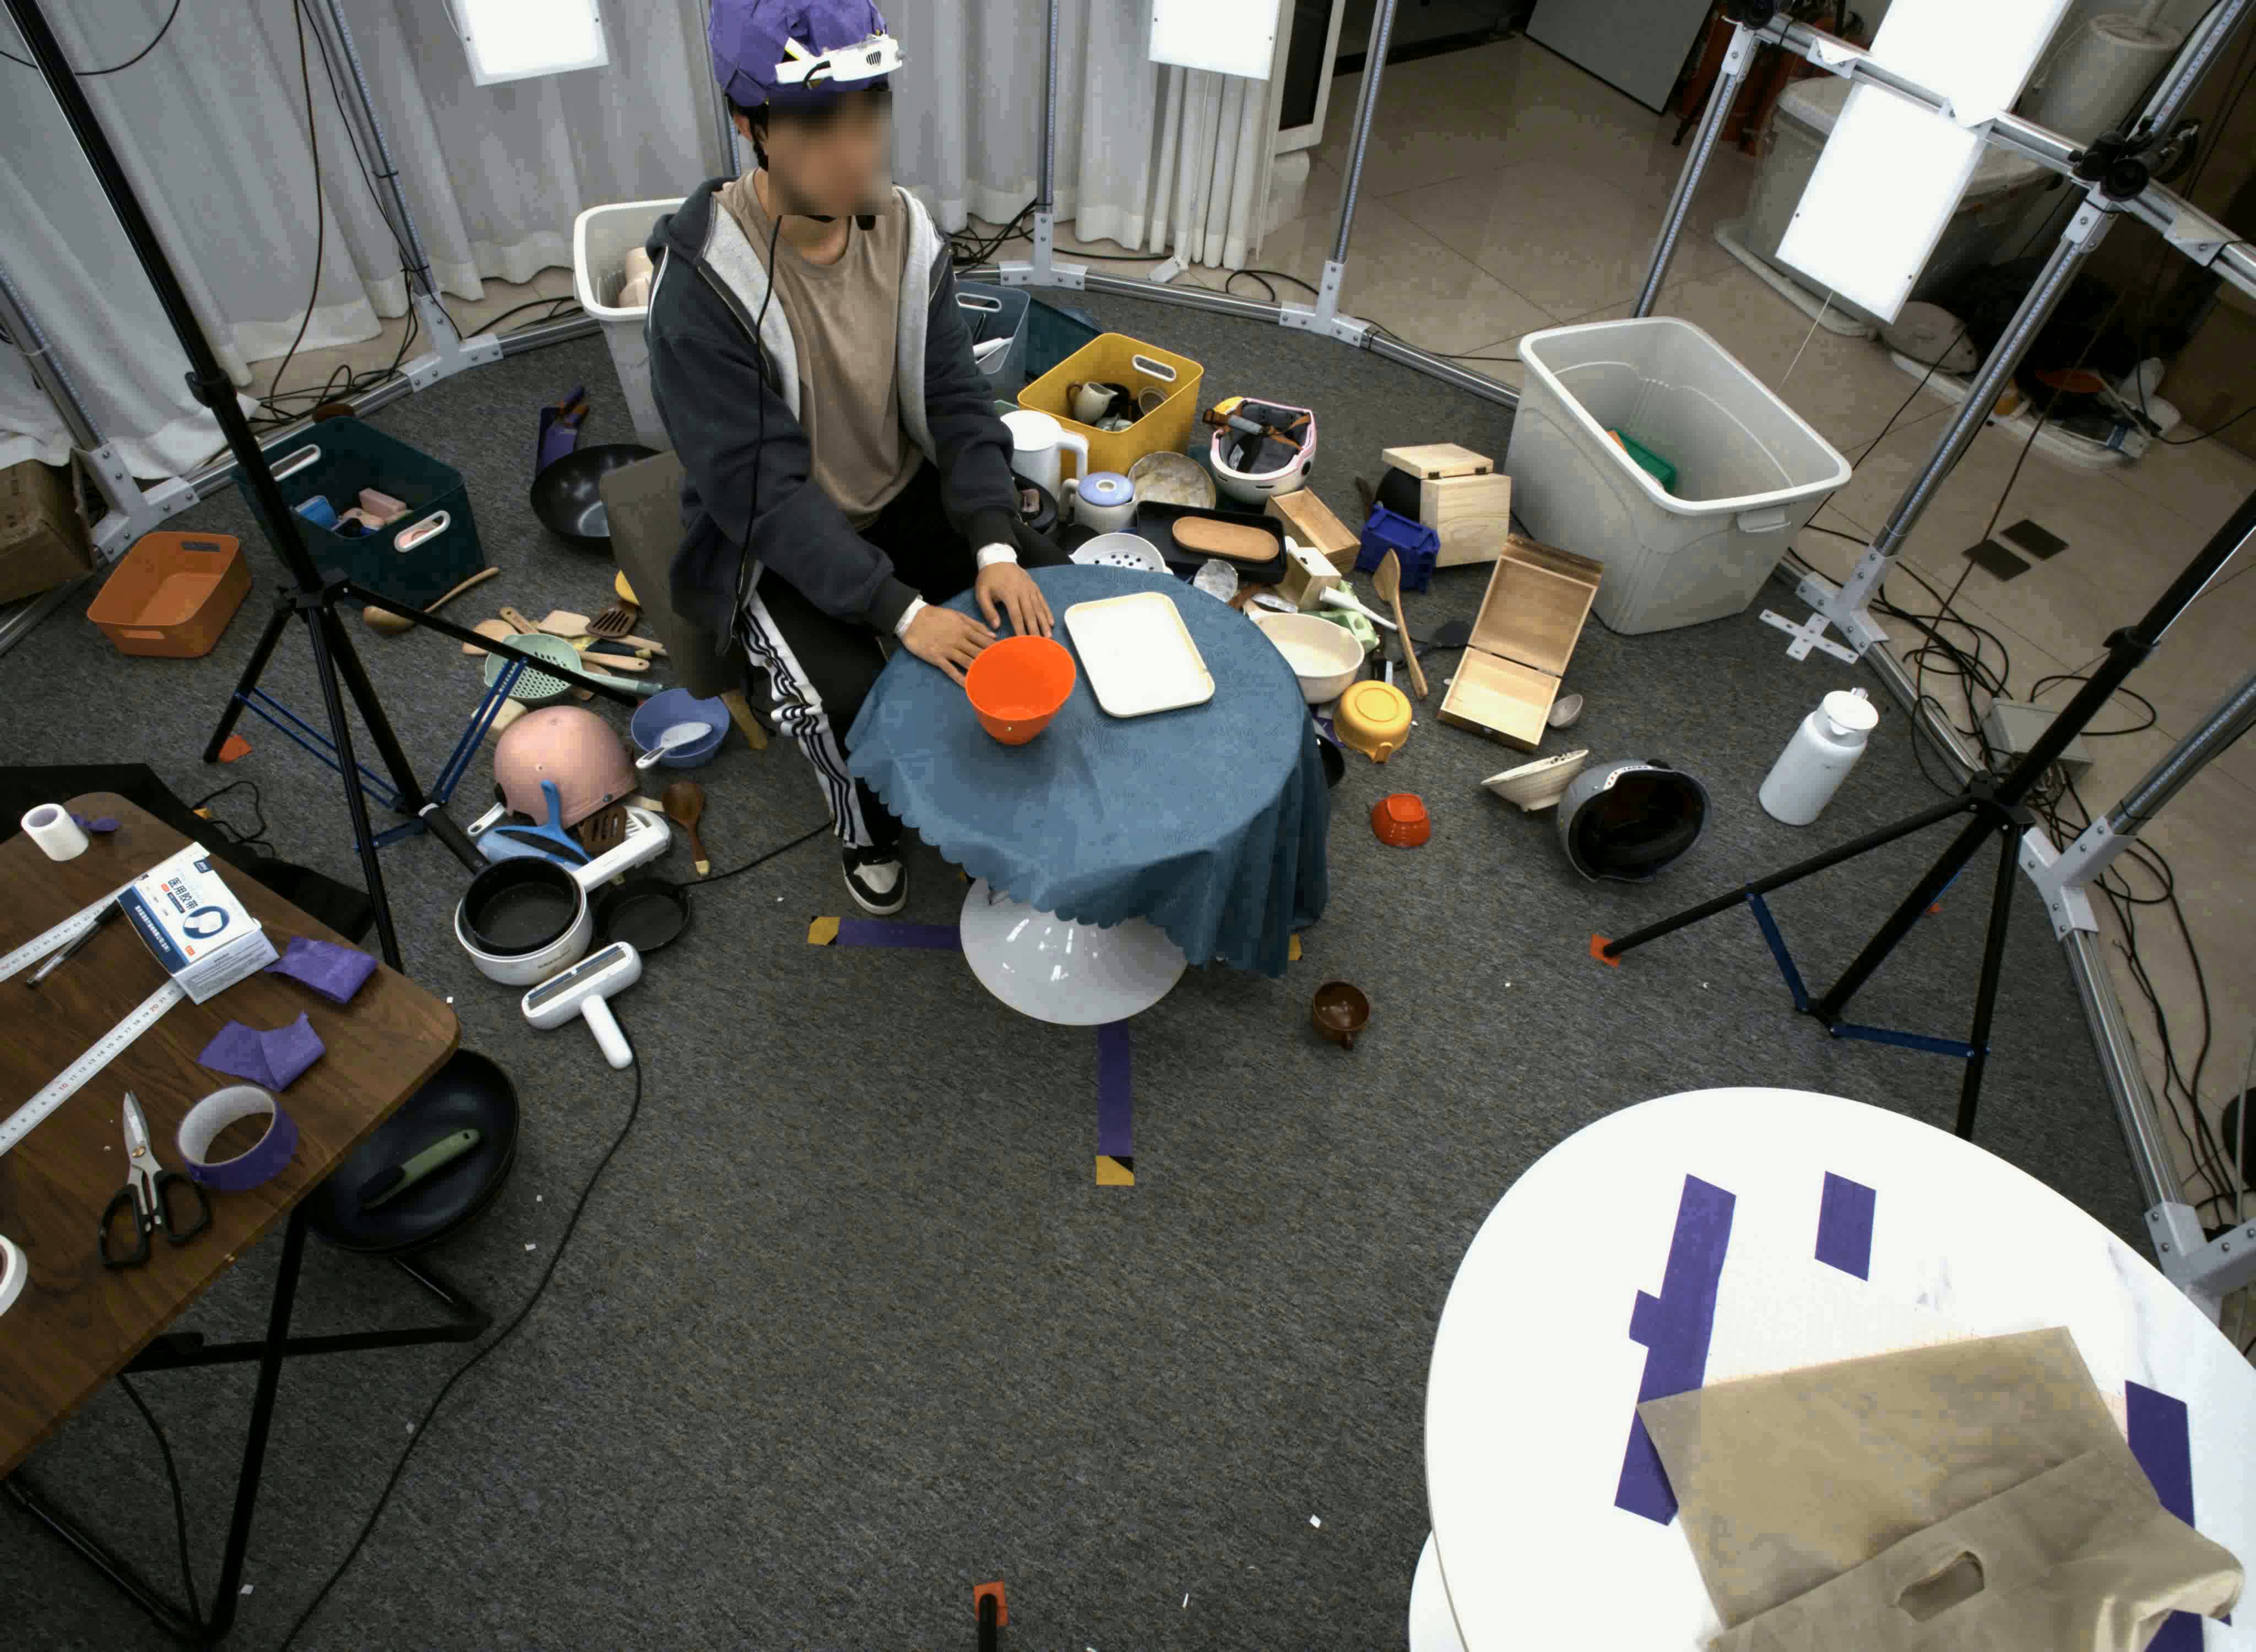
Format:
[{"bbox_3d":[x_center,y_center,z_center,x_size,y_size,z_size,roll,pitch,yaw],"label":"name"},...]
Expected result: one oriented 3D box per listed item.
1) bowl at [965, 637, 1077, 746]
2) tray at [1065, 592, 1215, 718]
[{"bbox_3d":[-0.145,-0.172,1.740,0.148,0.102,0.152,3,50,-4],"label":"bowl"},{"bbox_3d":[0.015,-0.251,1.874,0.171,0.017,0.245,-12,51,-13],"label":"tray"}]
